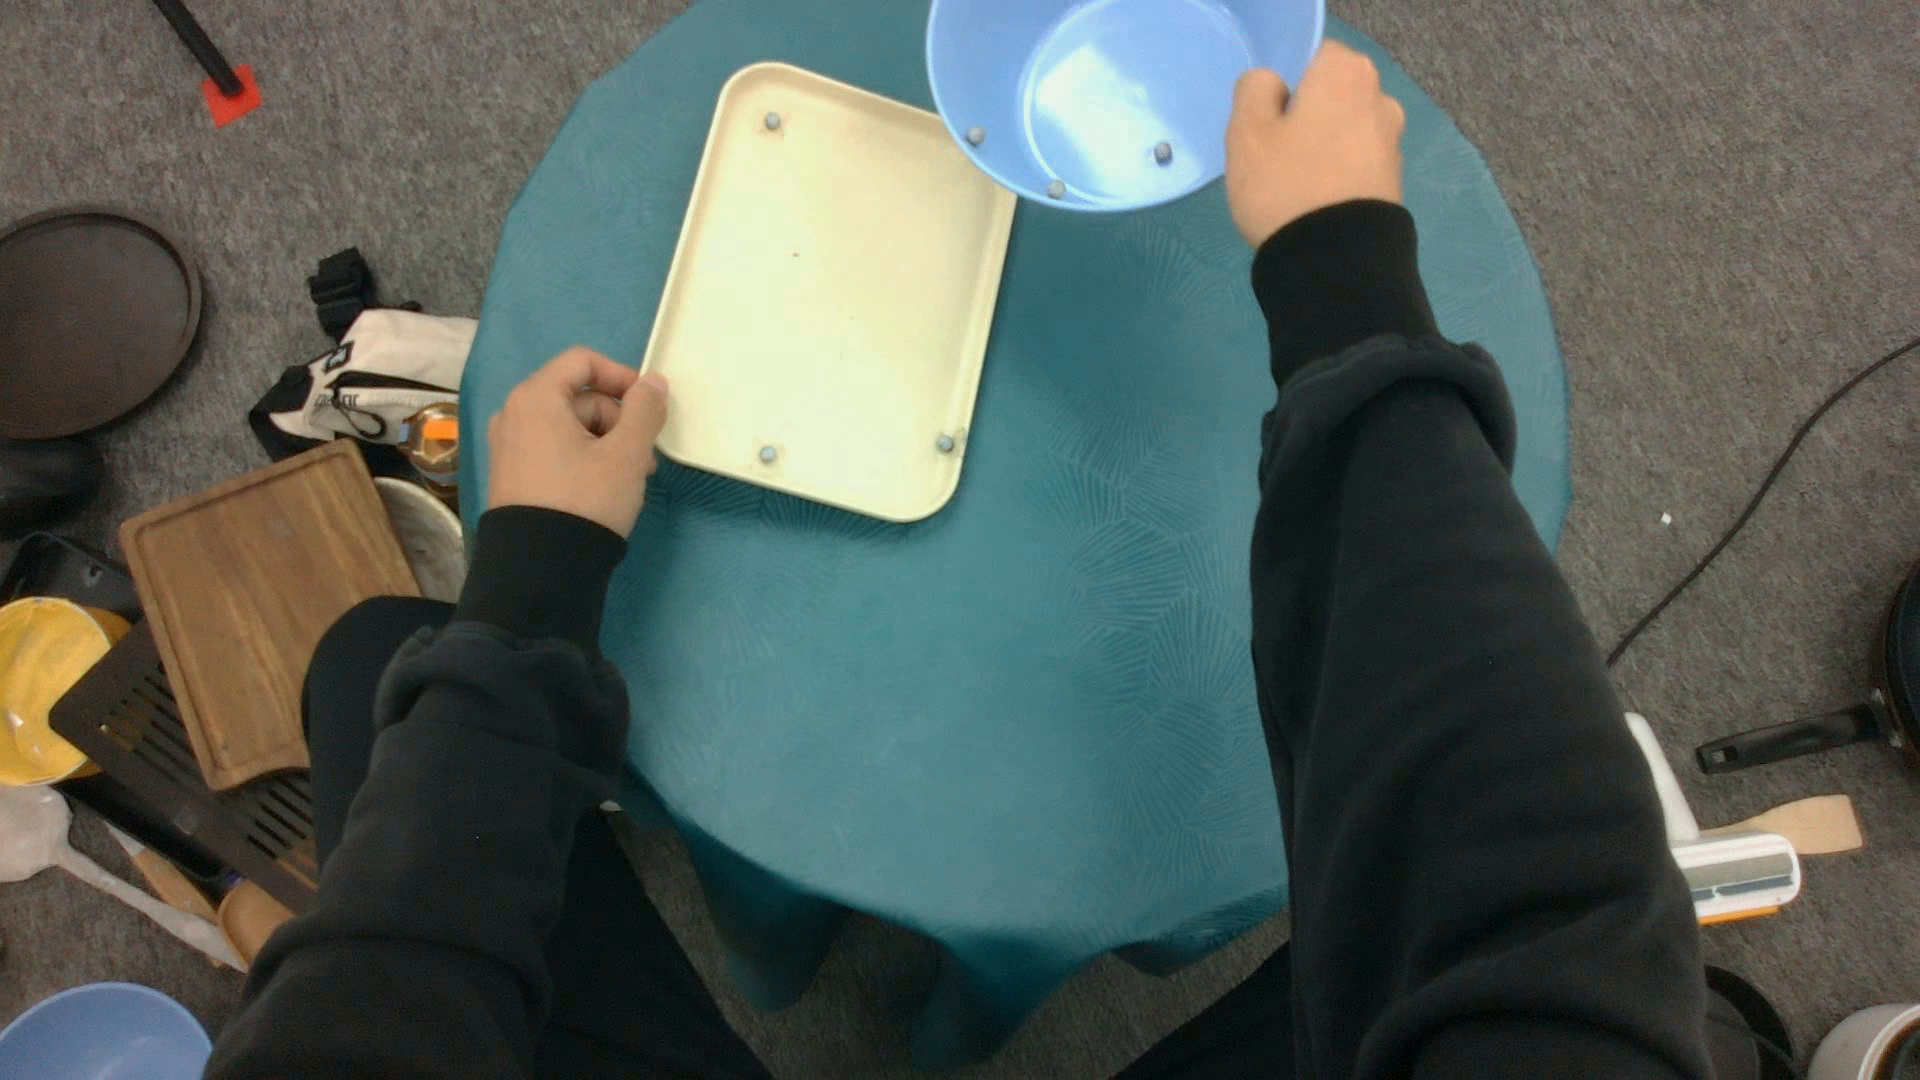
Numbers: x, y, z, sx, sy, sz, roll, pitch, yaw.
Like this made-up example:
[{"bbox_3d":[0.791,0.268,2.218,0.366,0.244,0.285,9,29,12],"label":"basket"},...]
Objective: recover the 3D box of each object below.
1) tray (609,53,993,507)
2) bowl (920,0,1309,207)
[{"bbox_3d":[-0.079,-0.140,0.734,0.171,0.017,0.240,15,70,-11],"label":"tray"},{"bbox_3d":[0.074,-0.225,0.649,0.176,0.070,0.176,-3,76,12],"label":"bowl"}]
